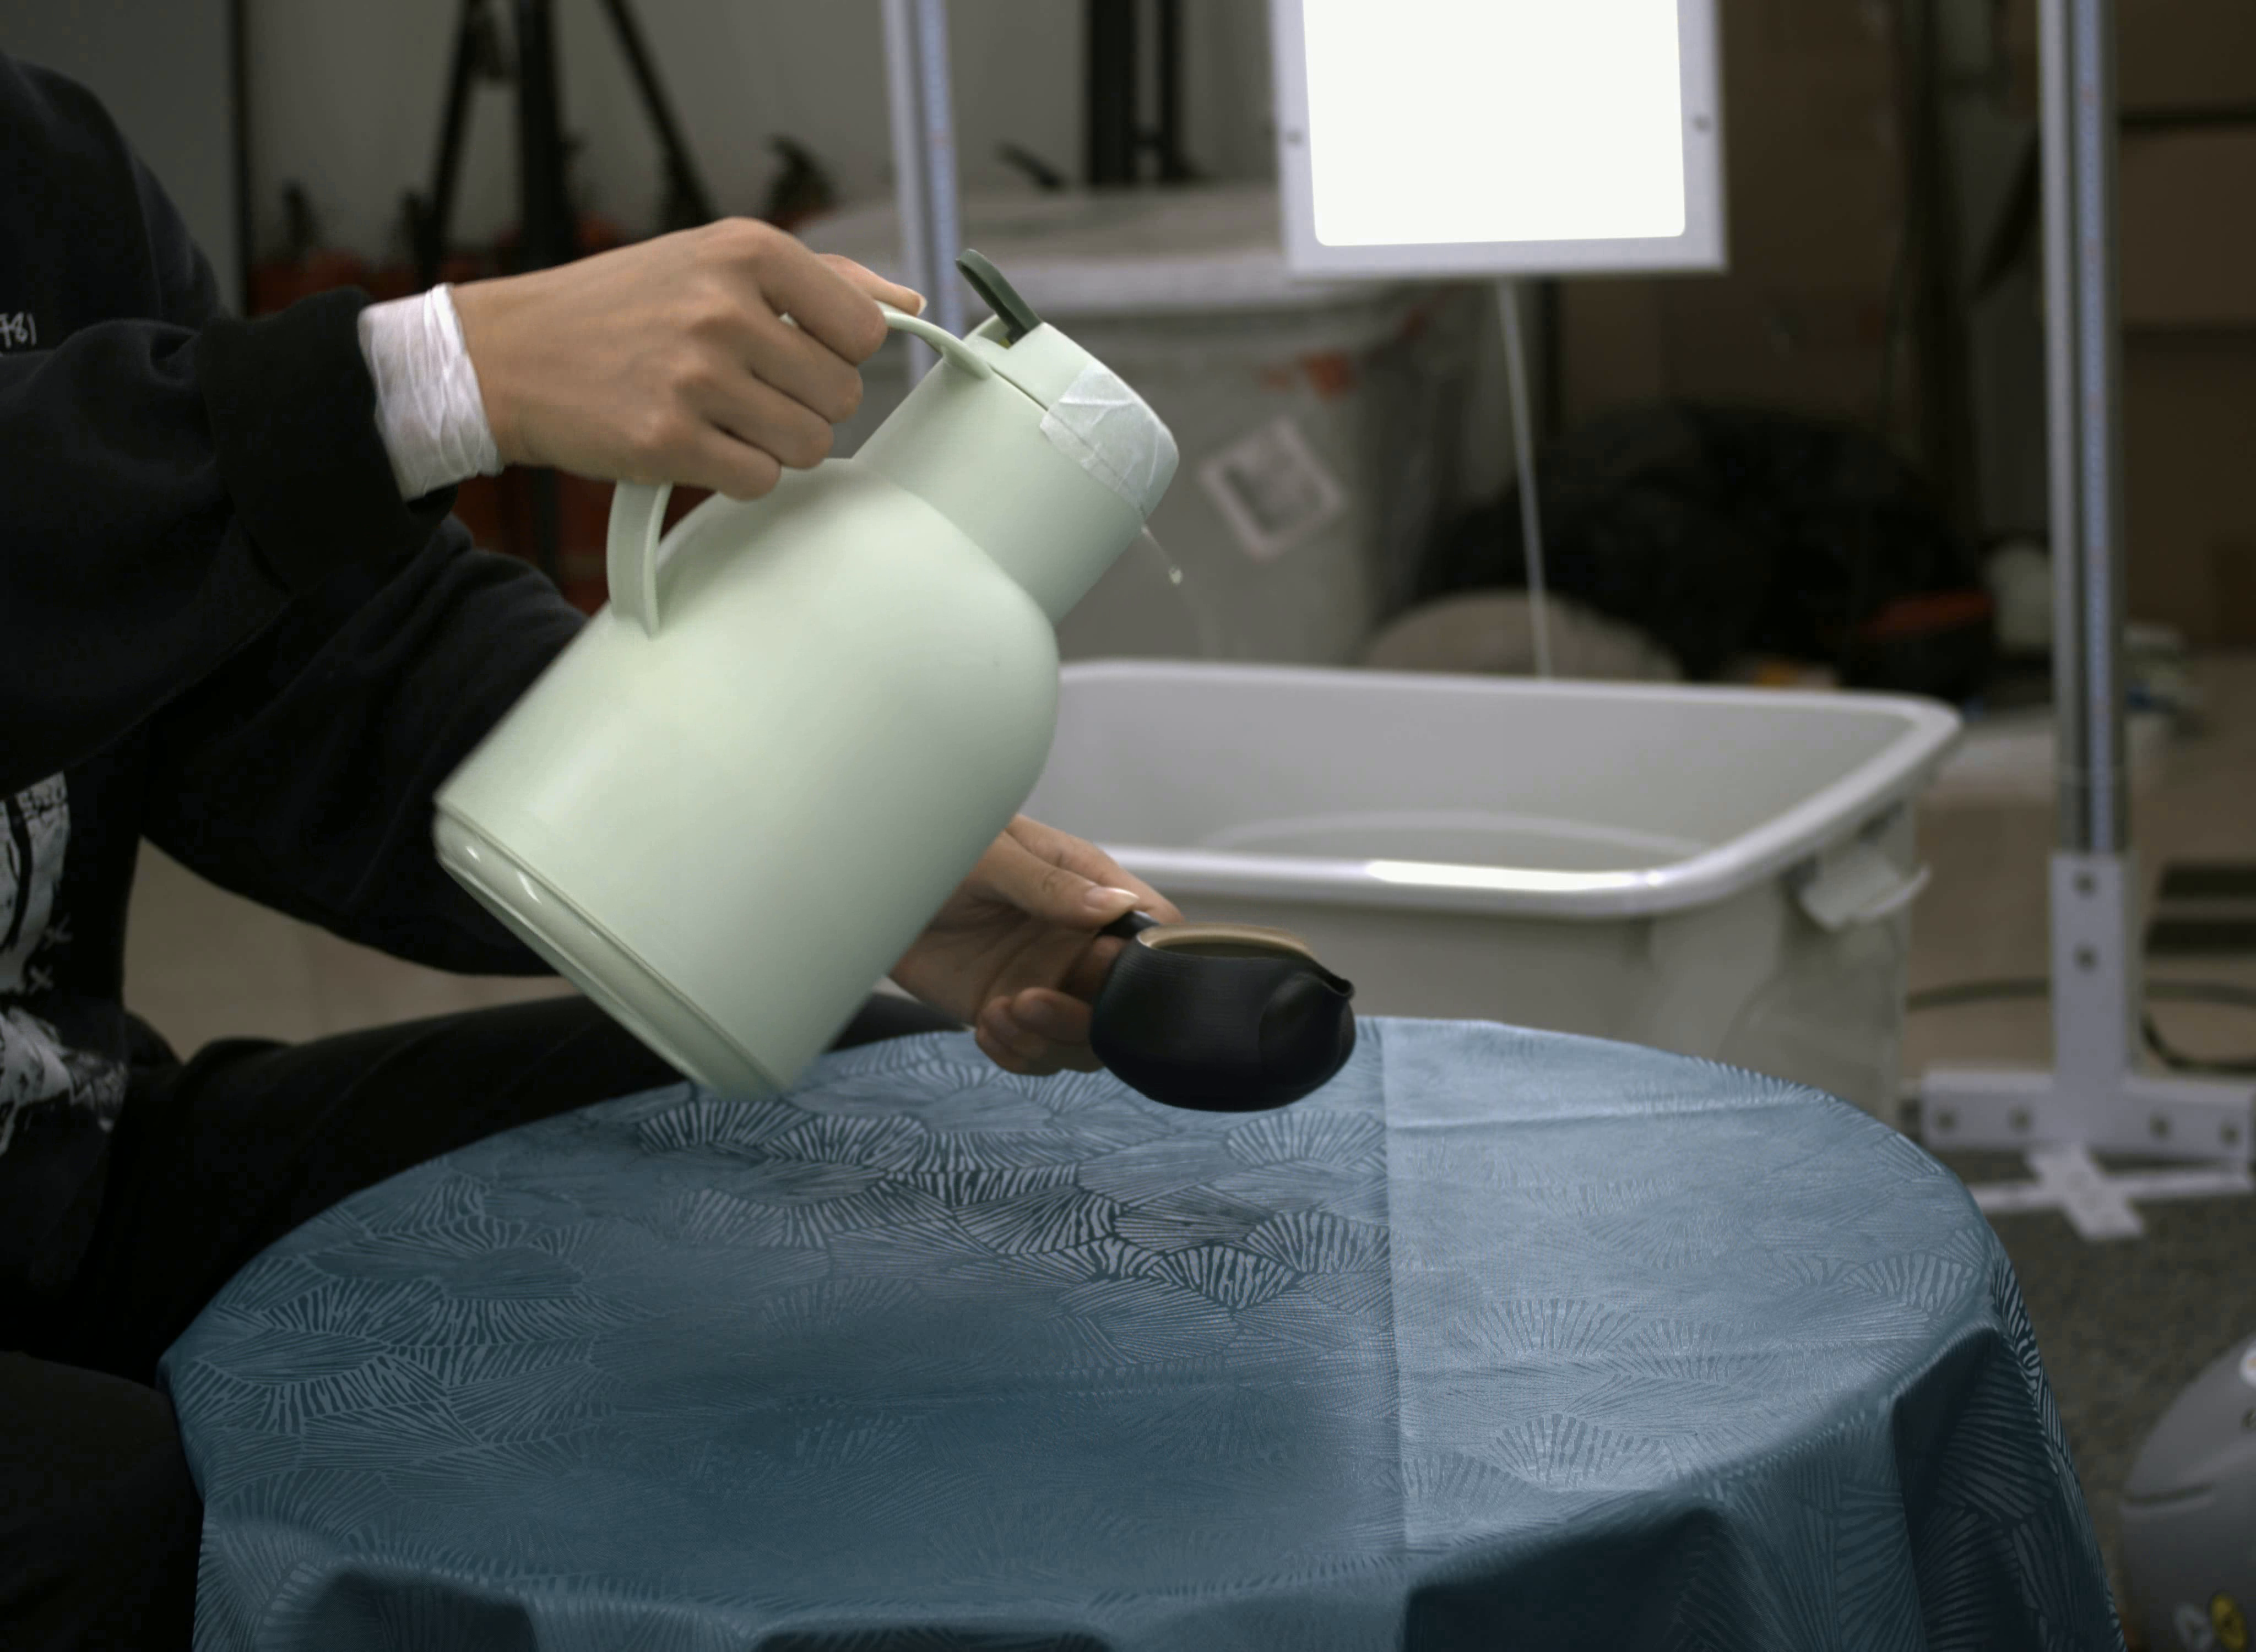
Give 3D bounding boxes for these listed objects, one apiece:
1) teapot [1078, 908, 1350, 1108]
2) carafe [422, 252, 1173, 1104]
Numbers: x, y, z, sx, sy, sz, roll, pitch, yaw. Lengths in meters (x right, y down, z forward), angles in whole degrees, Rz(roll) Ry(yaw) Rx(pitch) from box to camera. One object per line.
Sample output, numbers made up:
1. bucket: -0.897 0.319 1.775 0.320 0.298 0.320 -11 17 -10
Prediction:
1. teapot: 0.029 0.062 1.831 0.088 0.053 0.136 -5 13 -35
2. carafe: -0.102 -0.055 1.728 0.256 0.184 0.146 -51 35 -5
